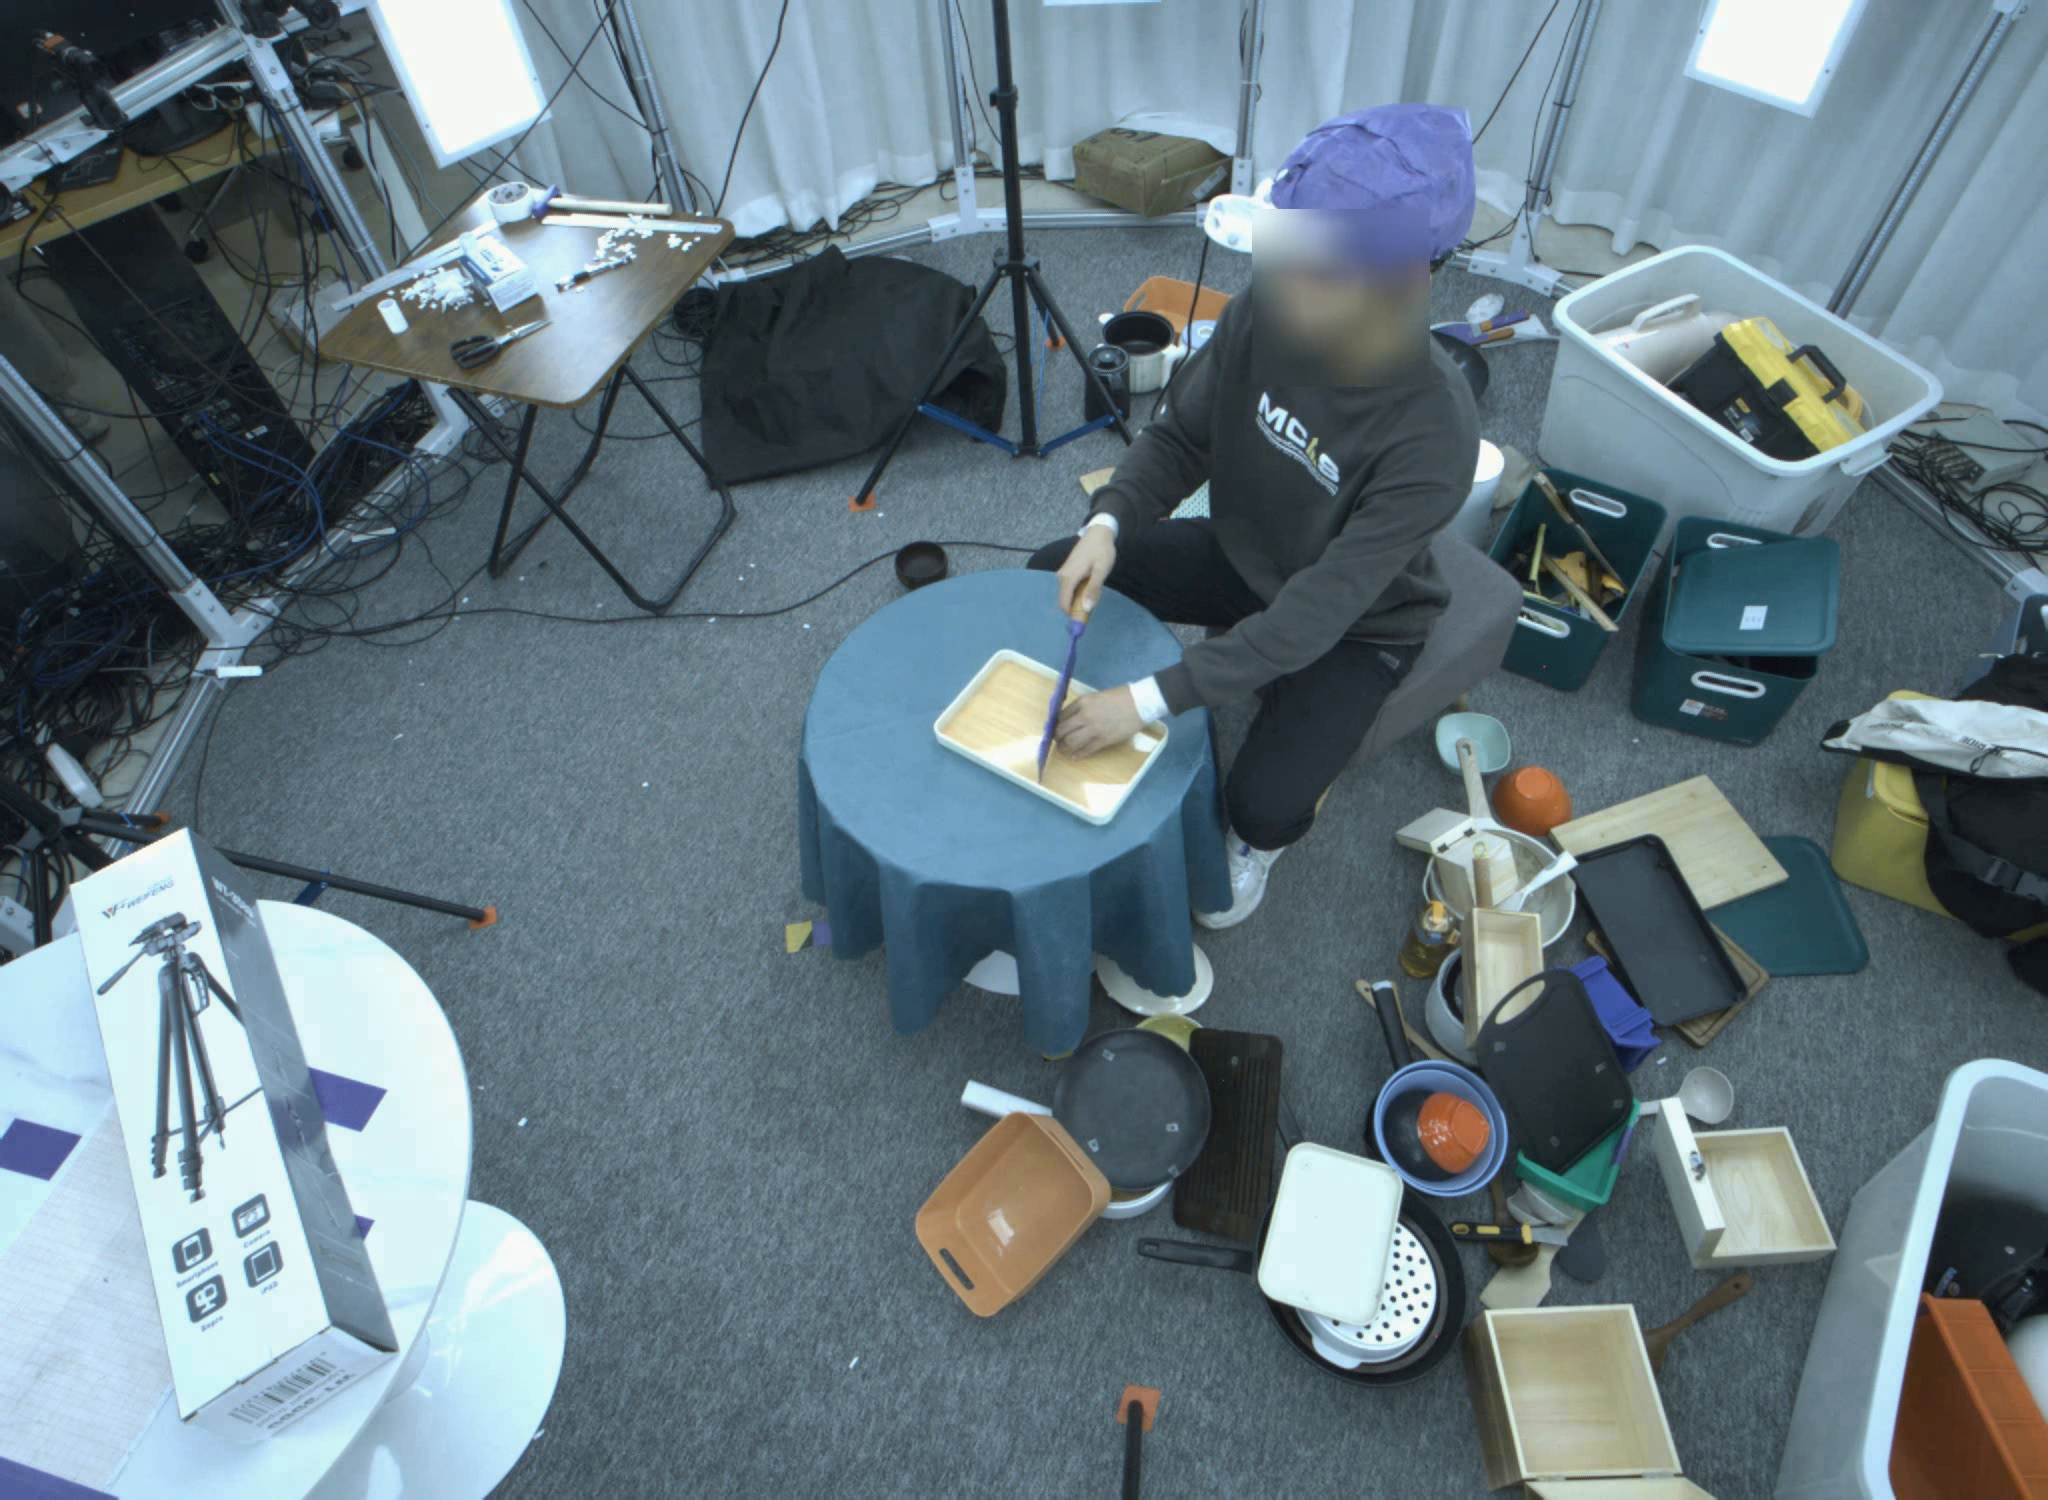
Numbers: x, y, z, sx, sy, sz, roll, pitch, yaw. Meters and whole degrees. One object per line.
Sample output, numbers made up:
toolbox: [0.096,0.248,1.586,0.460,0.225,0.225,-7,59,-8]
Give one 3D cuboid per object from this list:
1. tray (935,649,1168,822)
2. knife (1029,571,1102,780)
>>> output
tray: [0.039,-0.026,1.796,0.296,0.028,0.192,27,59,19]
knife: [0.056,-0.109,1.772,0.032,0.104,0.314,16,66,7]
